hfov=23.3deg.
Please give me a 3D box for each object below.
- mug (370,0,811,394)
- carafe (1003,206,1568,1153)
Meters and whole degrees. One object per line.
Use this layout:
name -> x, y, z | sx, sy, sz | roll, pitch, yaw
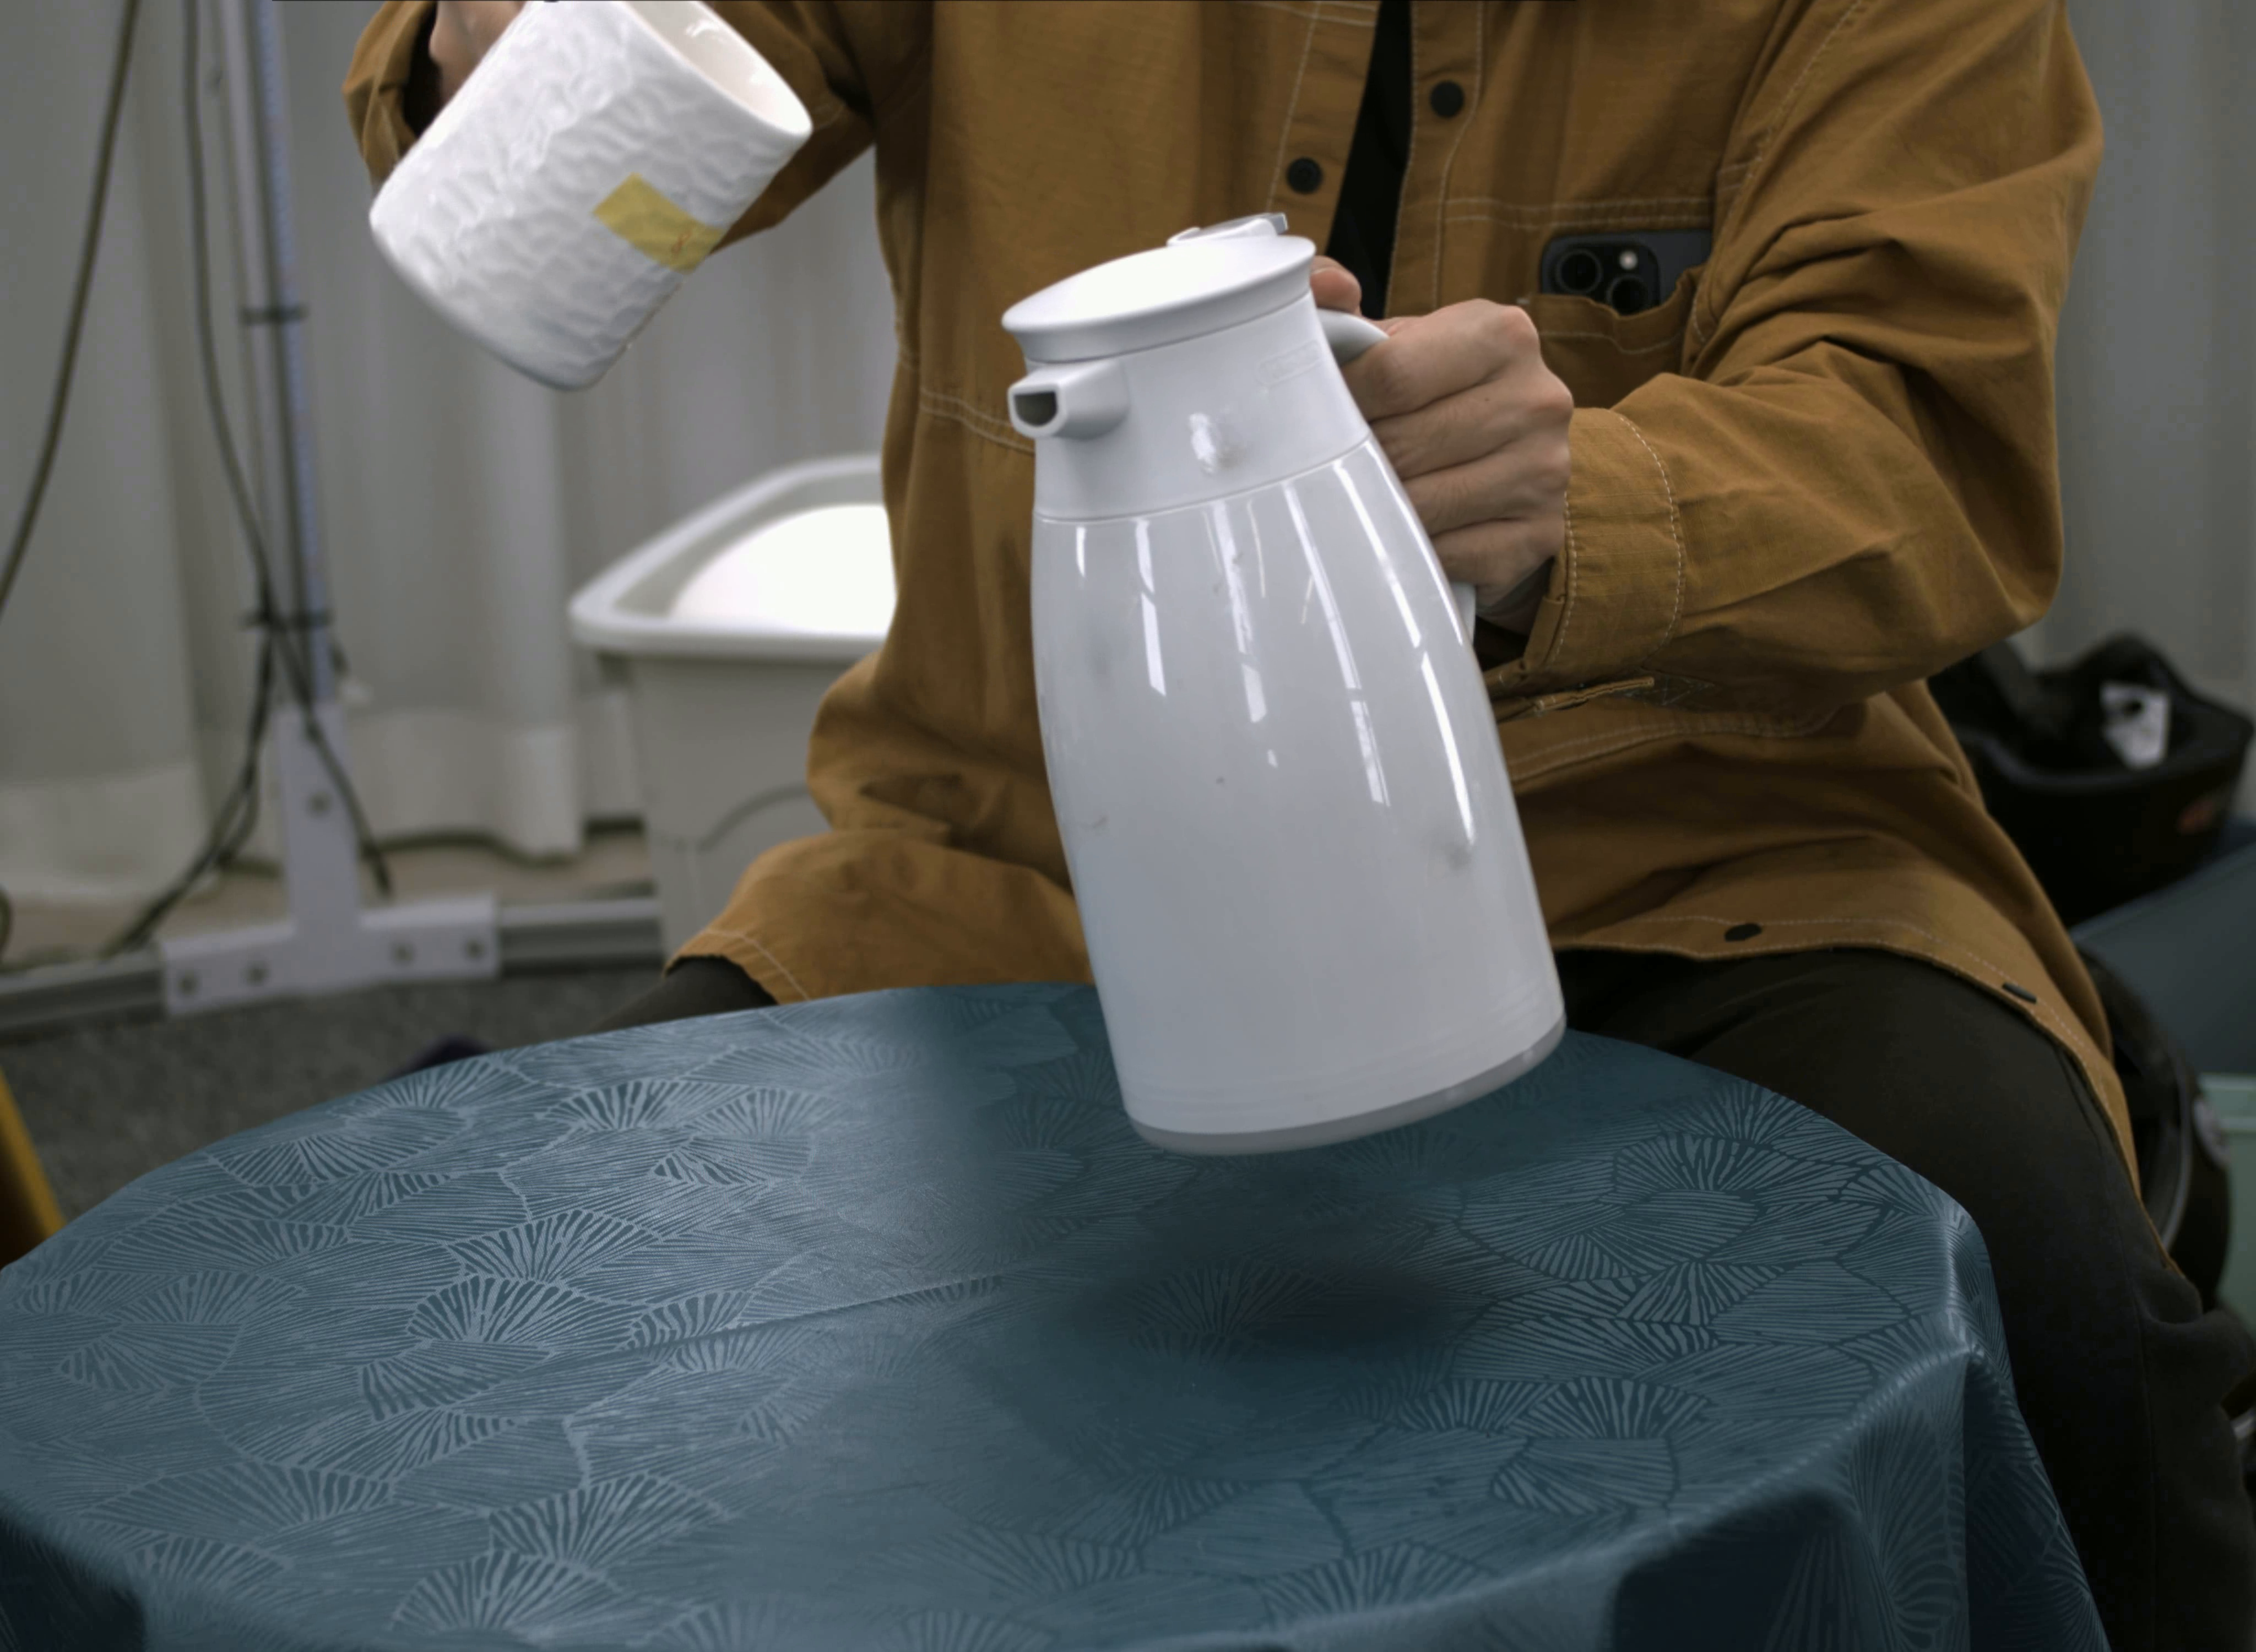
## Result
mug -> -0.159, -0.194, 1.573 | 0.084, 0.101, 0.120 | 33, 15, -32
carafe -> 0.046, -0.051, 1.584 | 0.133, 0.248, 0.168 | -4, 15, 40
